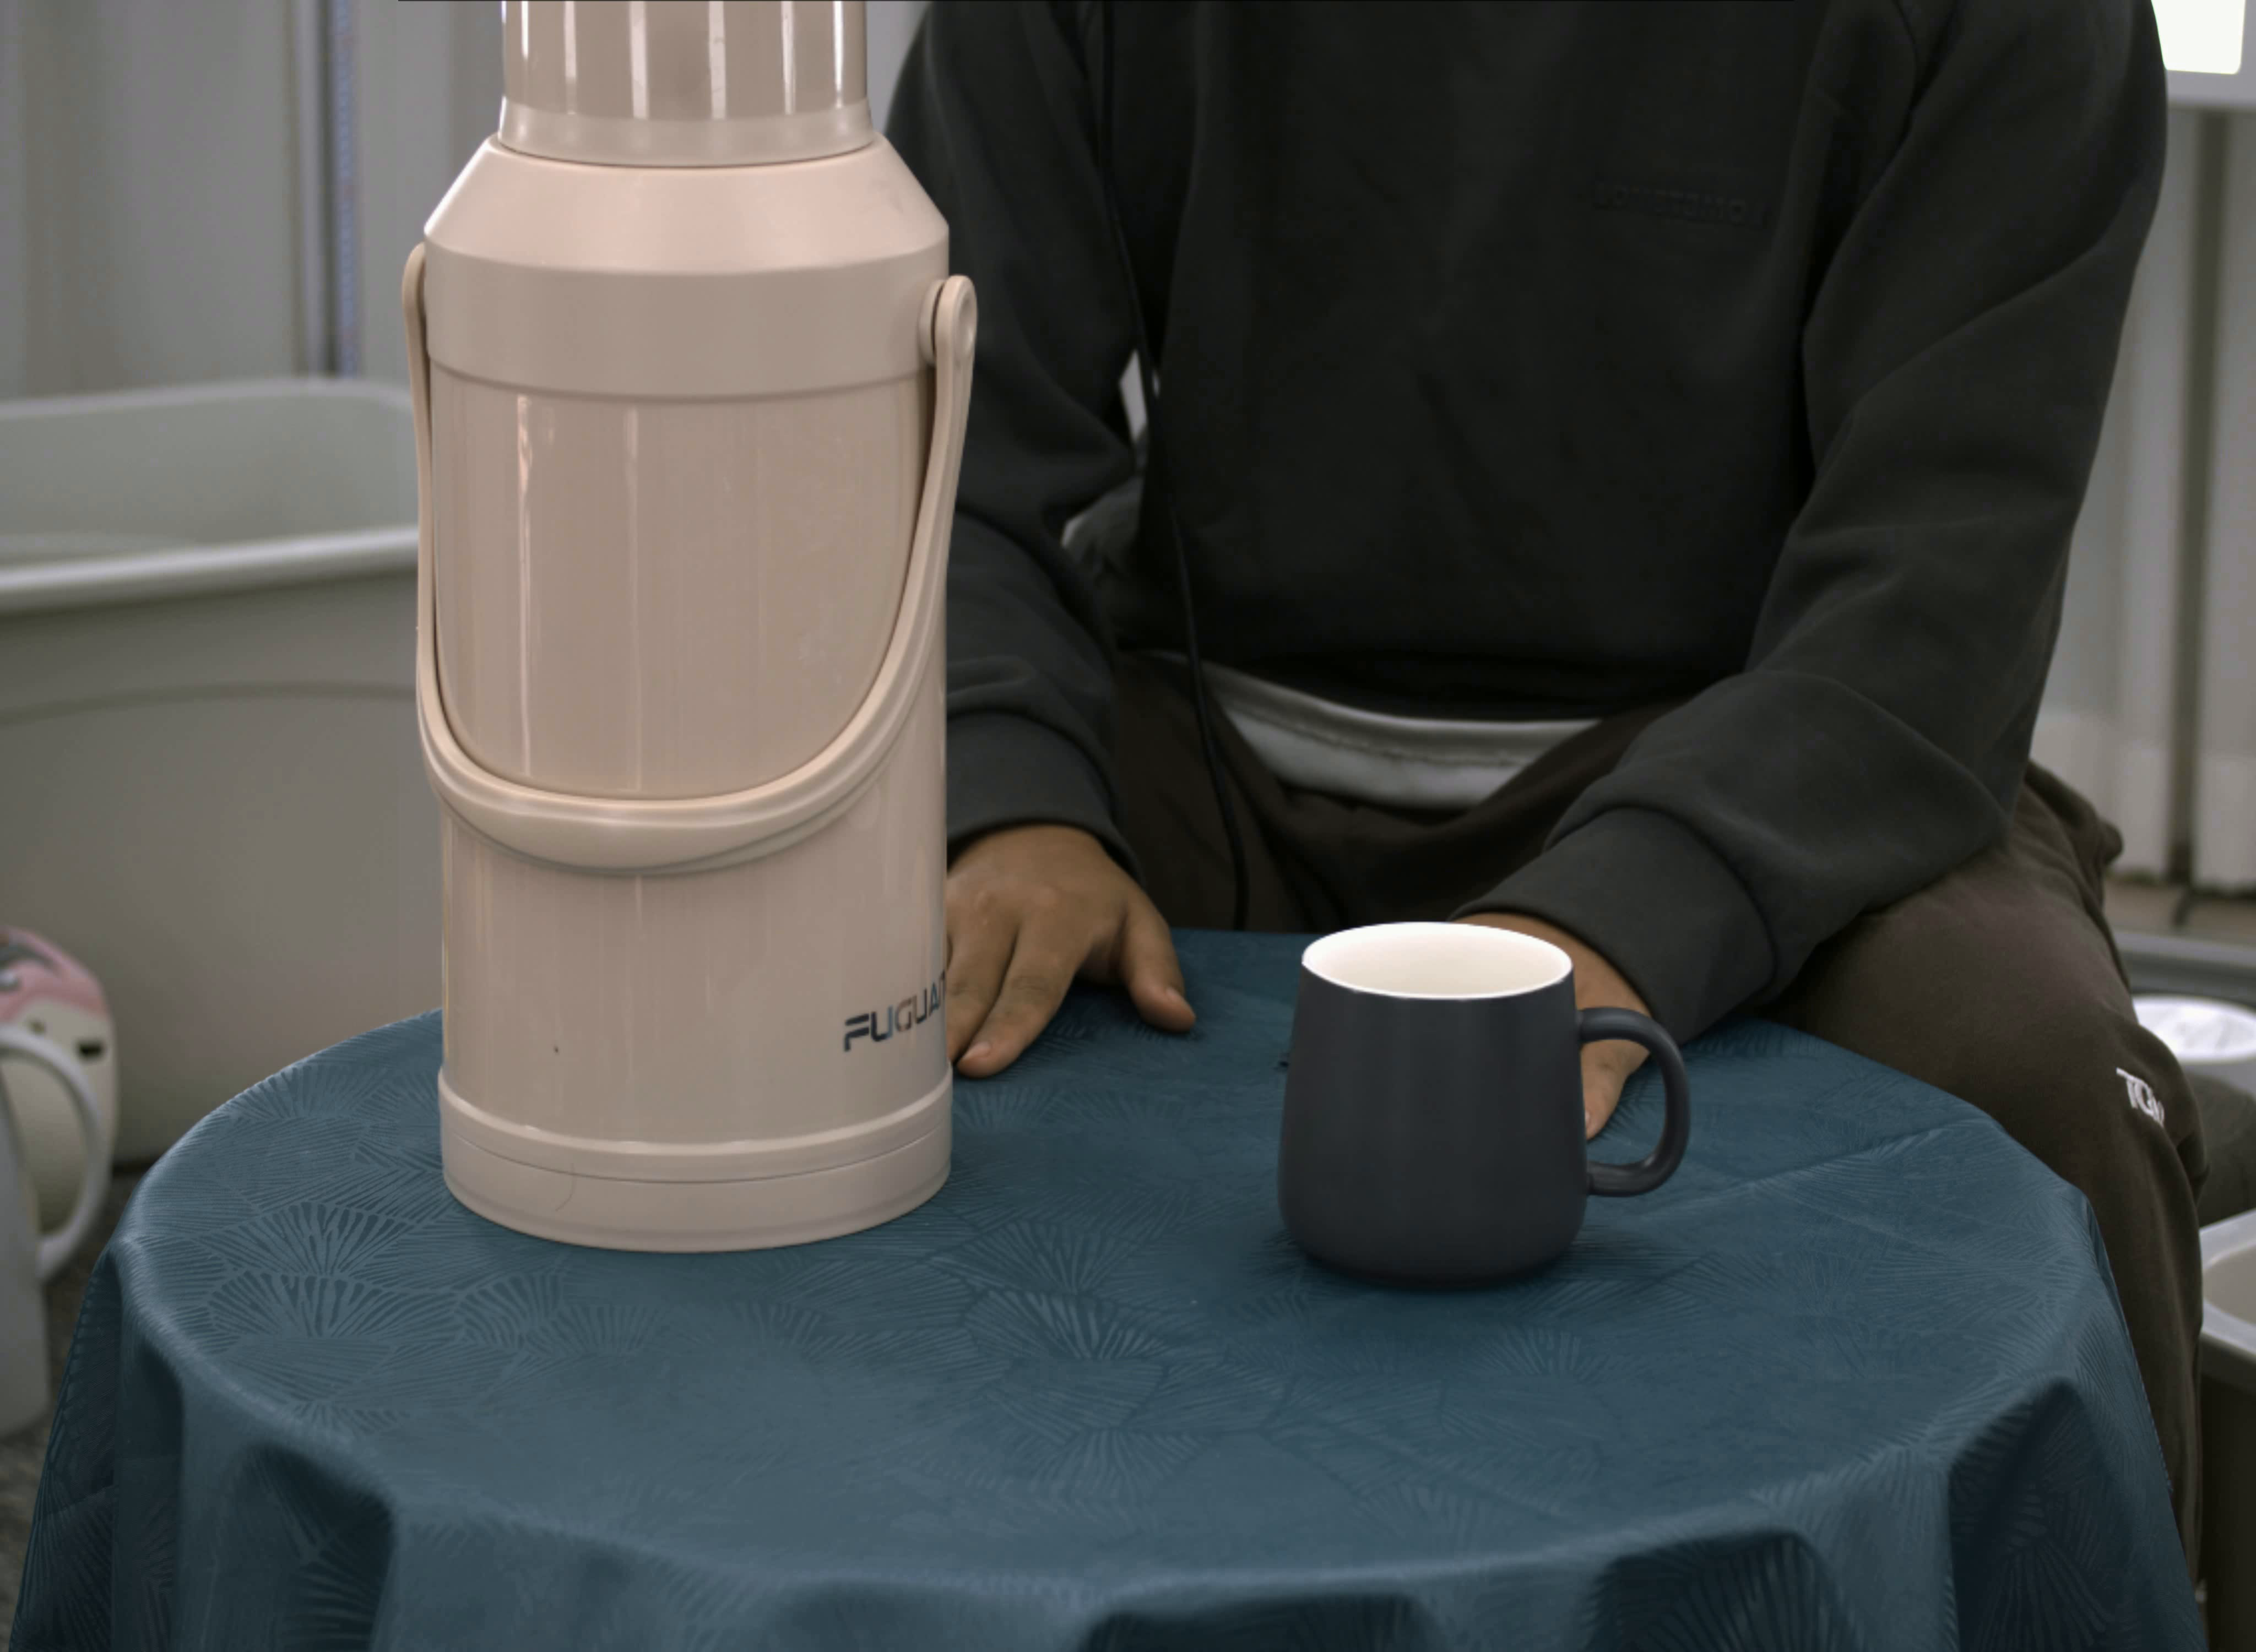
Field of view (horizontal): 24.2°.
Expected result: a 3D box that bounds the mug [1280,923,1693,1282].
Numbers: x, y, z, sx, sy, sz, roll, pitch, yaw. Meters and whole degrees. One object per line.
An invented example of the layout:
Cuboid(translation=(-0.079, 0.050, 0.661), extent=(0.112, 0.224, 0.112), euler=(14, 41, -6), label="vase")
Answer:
Cuboid(translation=(0.107, 0.082, 1.569), extent=(0.123, 0.090, 0.093), euler=(1, 16, 2), label="mug")

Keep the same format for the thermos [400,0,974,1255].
Cuboid(translation=(-0.128, -0.088, 1.597), extent=(0.174, 0.410, 0.207), euler=(5, 17, 15), label="thermos")
